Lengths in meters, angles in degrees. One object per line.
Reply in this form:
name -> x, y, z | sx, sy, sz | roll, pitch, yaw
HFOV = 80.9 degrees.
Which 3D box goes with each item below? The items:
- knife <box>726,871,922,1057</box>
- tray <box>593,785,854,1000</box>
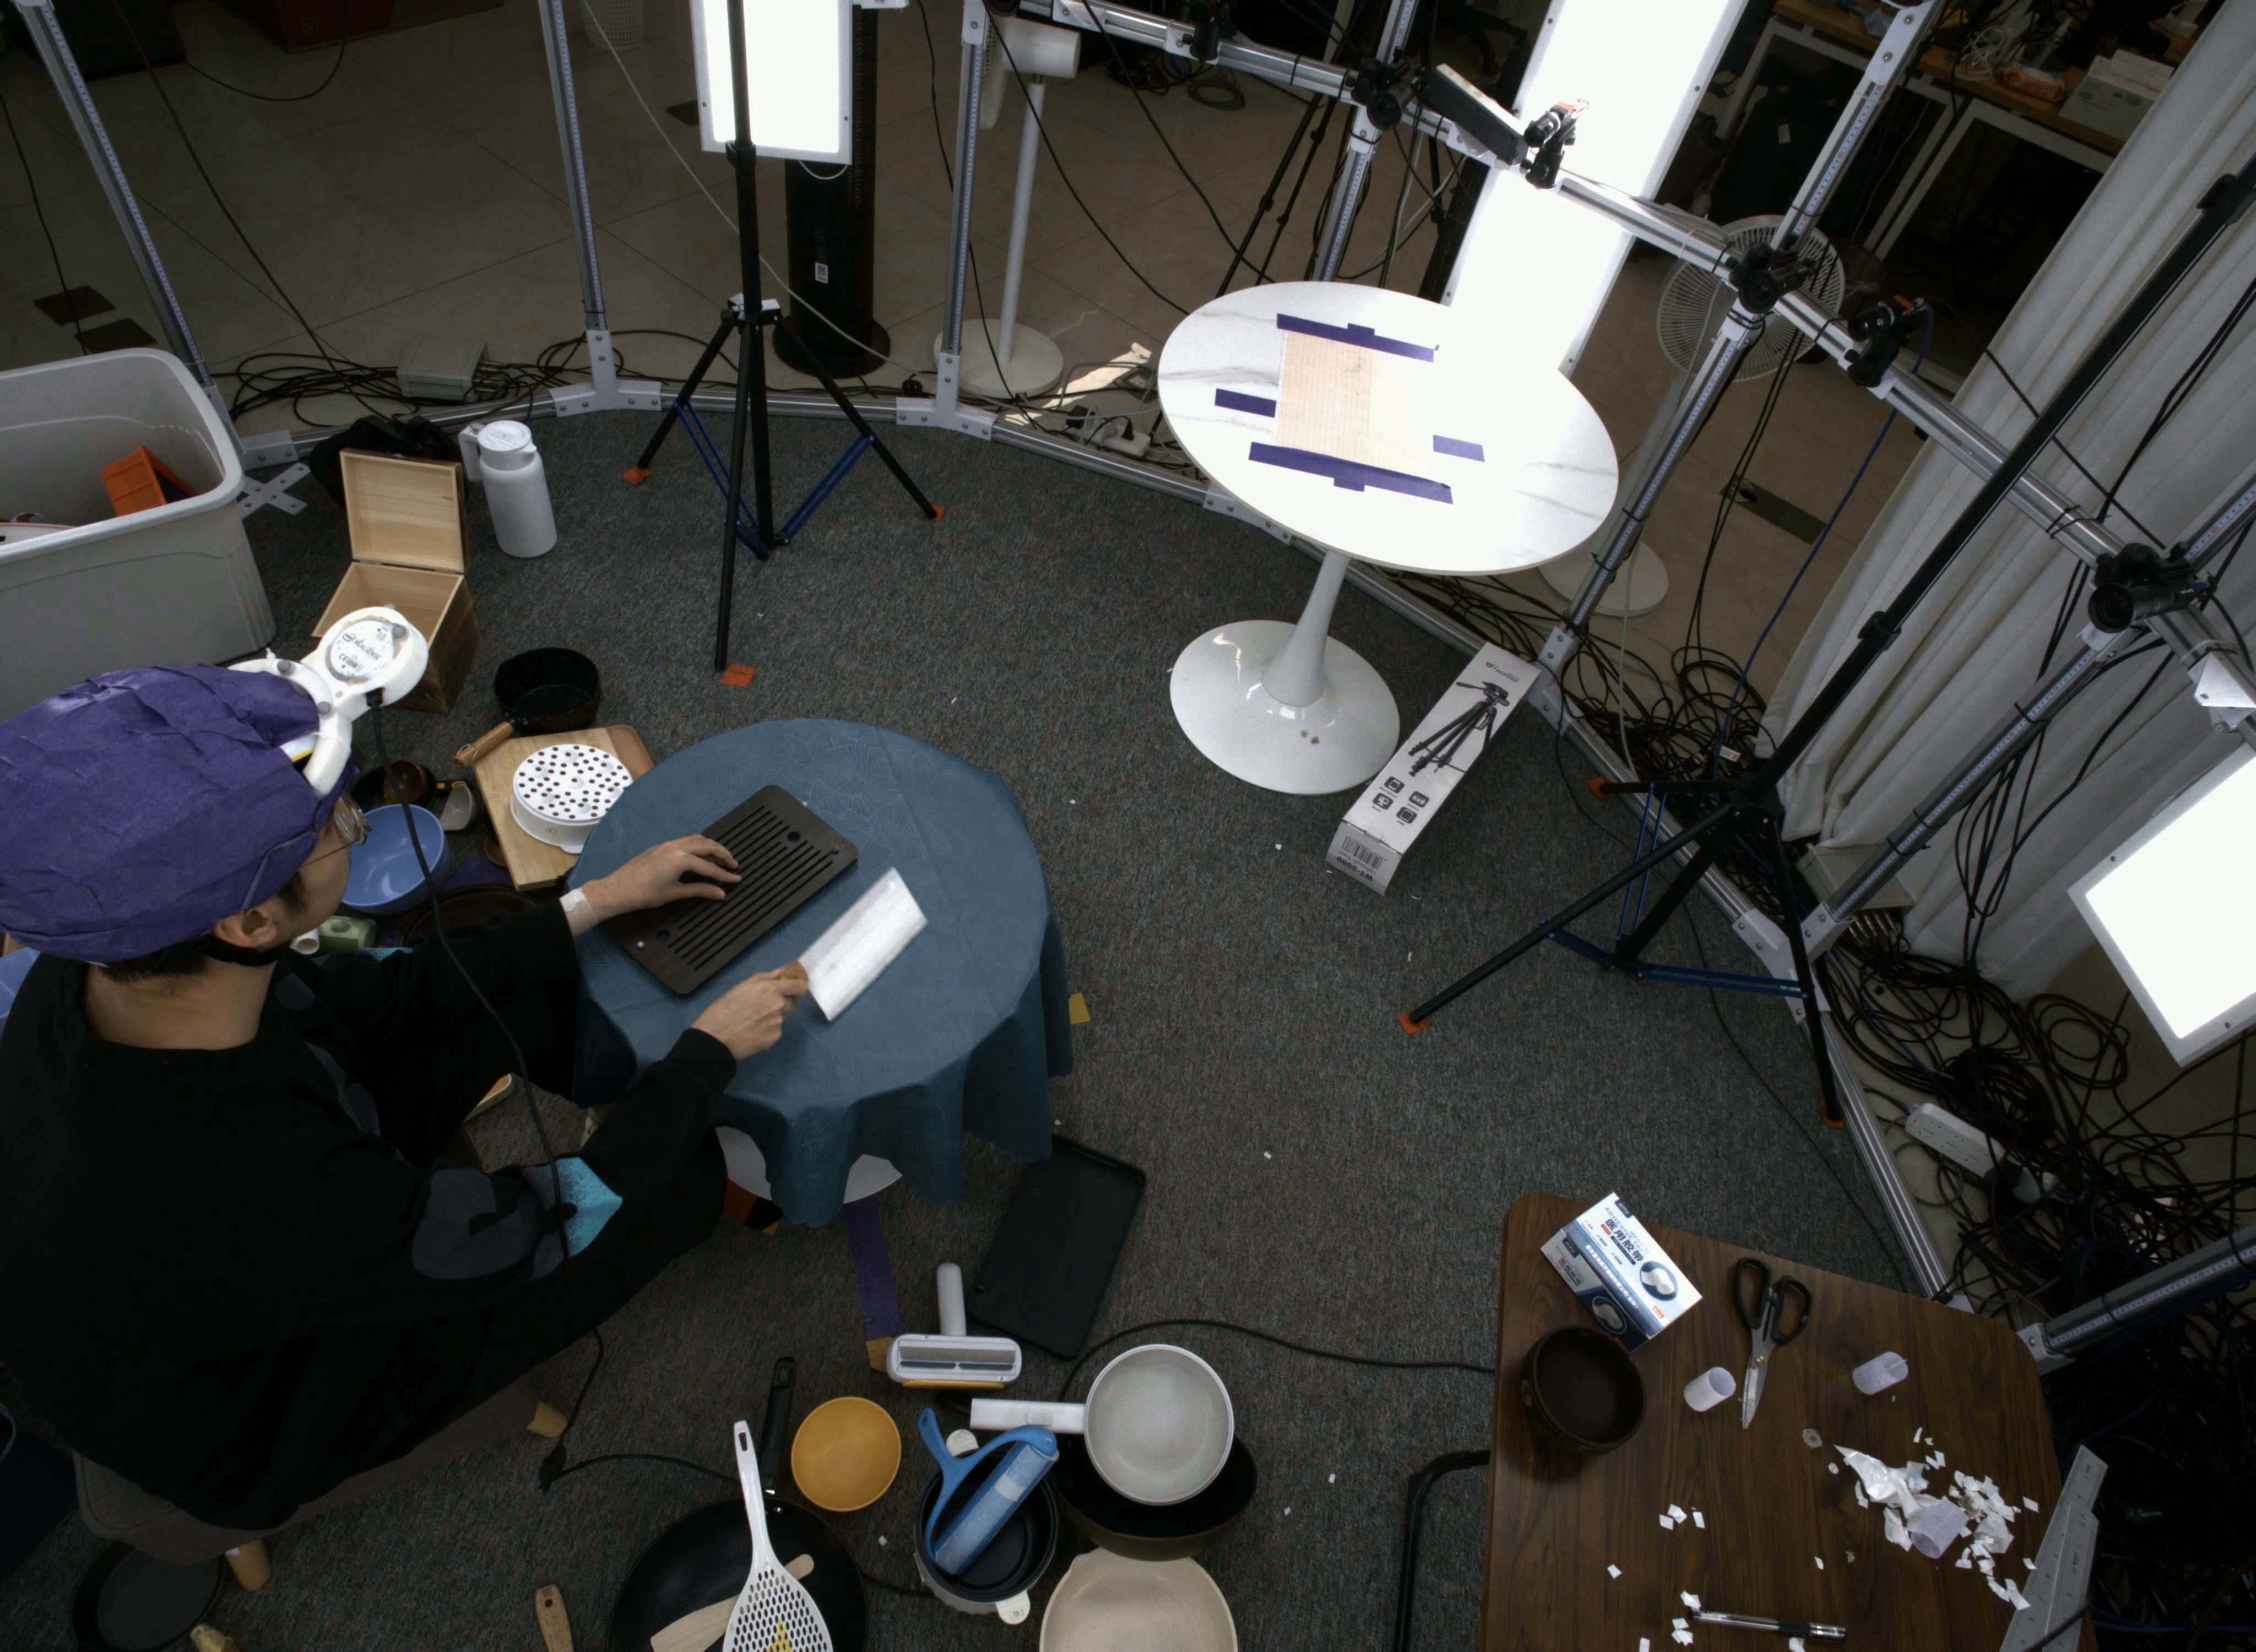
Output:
knife -> -0.351, 0.177, 1.550 | 0.020, 0.096, 0.305 | -2, 35, 42
tray -> -0.505, 0.076, 1.623 | 0.167, 0.019, 0.306 | 37, 53, 13
